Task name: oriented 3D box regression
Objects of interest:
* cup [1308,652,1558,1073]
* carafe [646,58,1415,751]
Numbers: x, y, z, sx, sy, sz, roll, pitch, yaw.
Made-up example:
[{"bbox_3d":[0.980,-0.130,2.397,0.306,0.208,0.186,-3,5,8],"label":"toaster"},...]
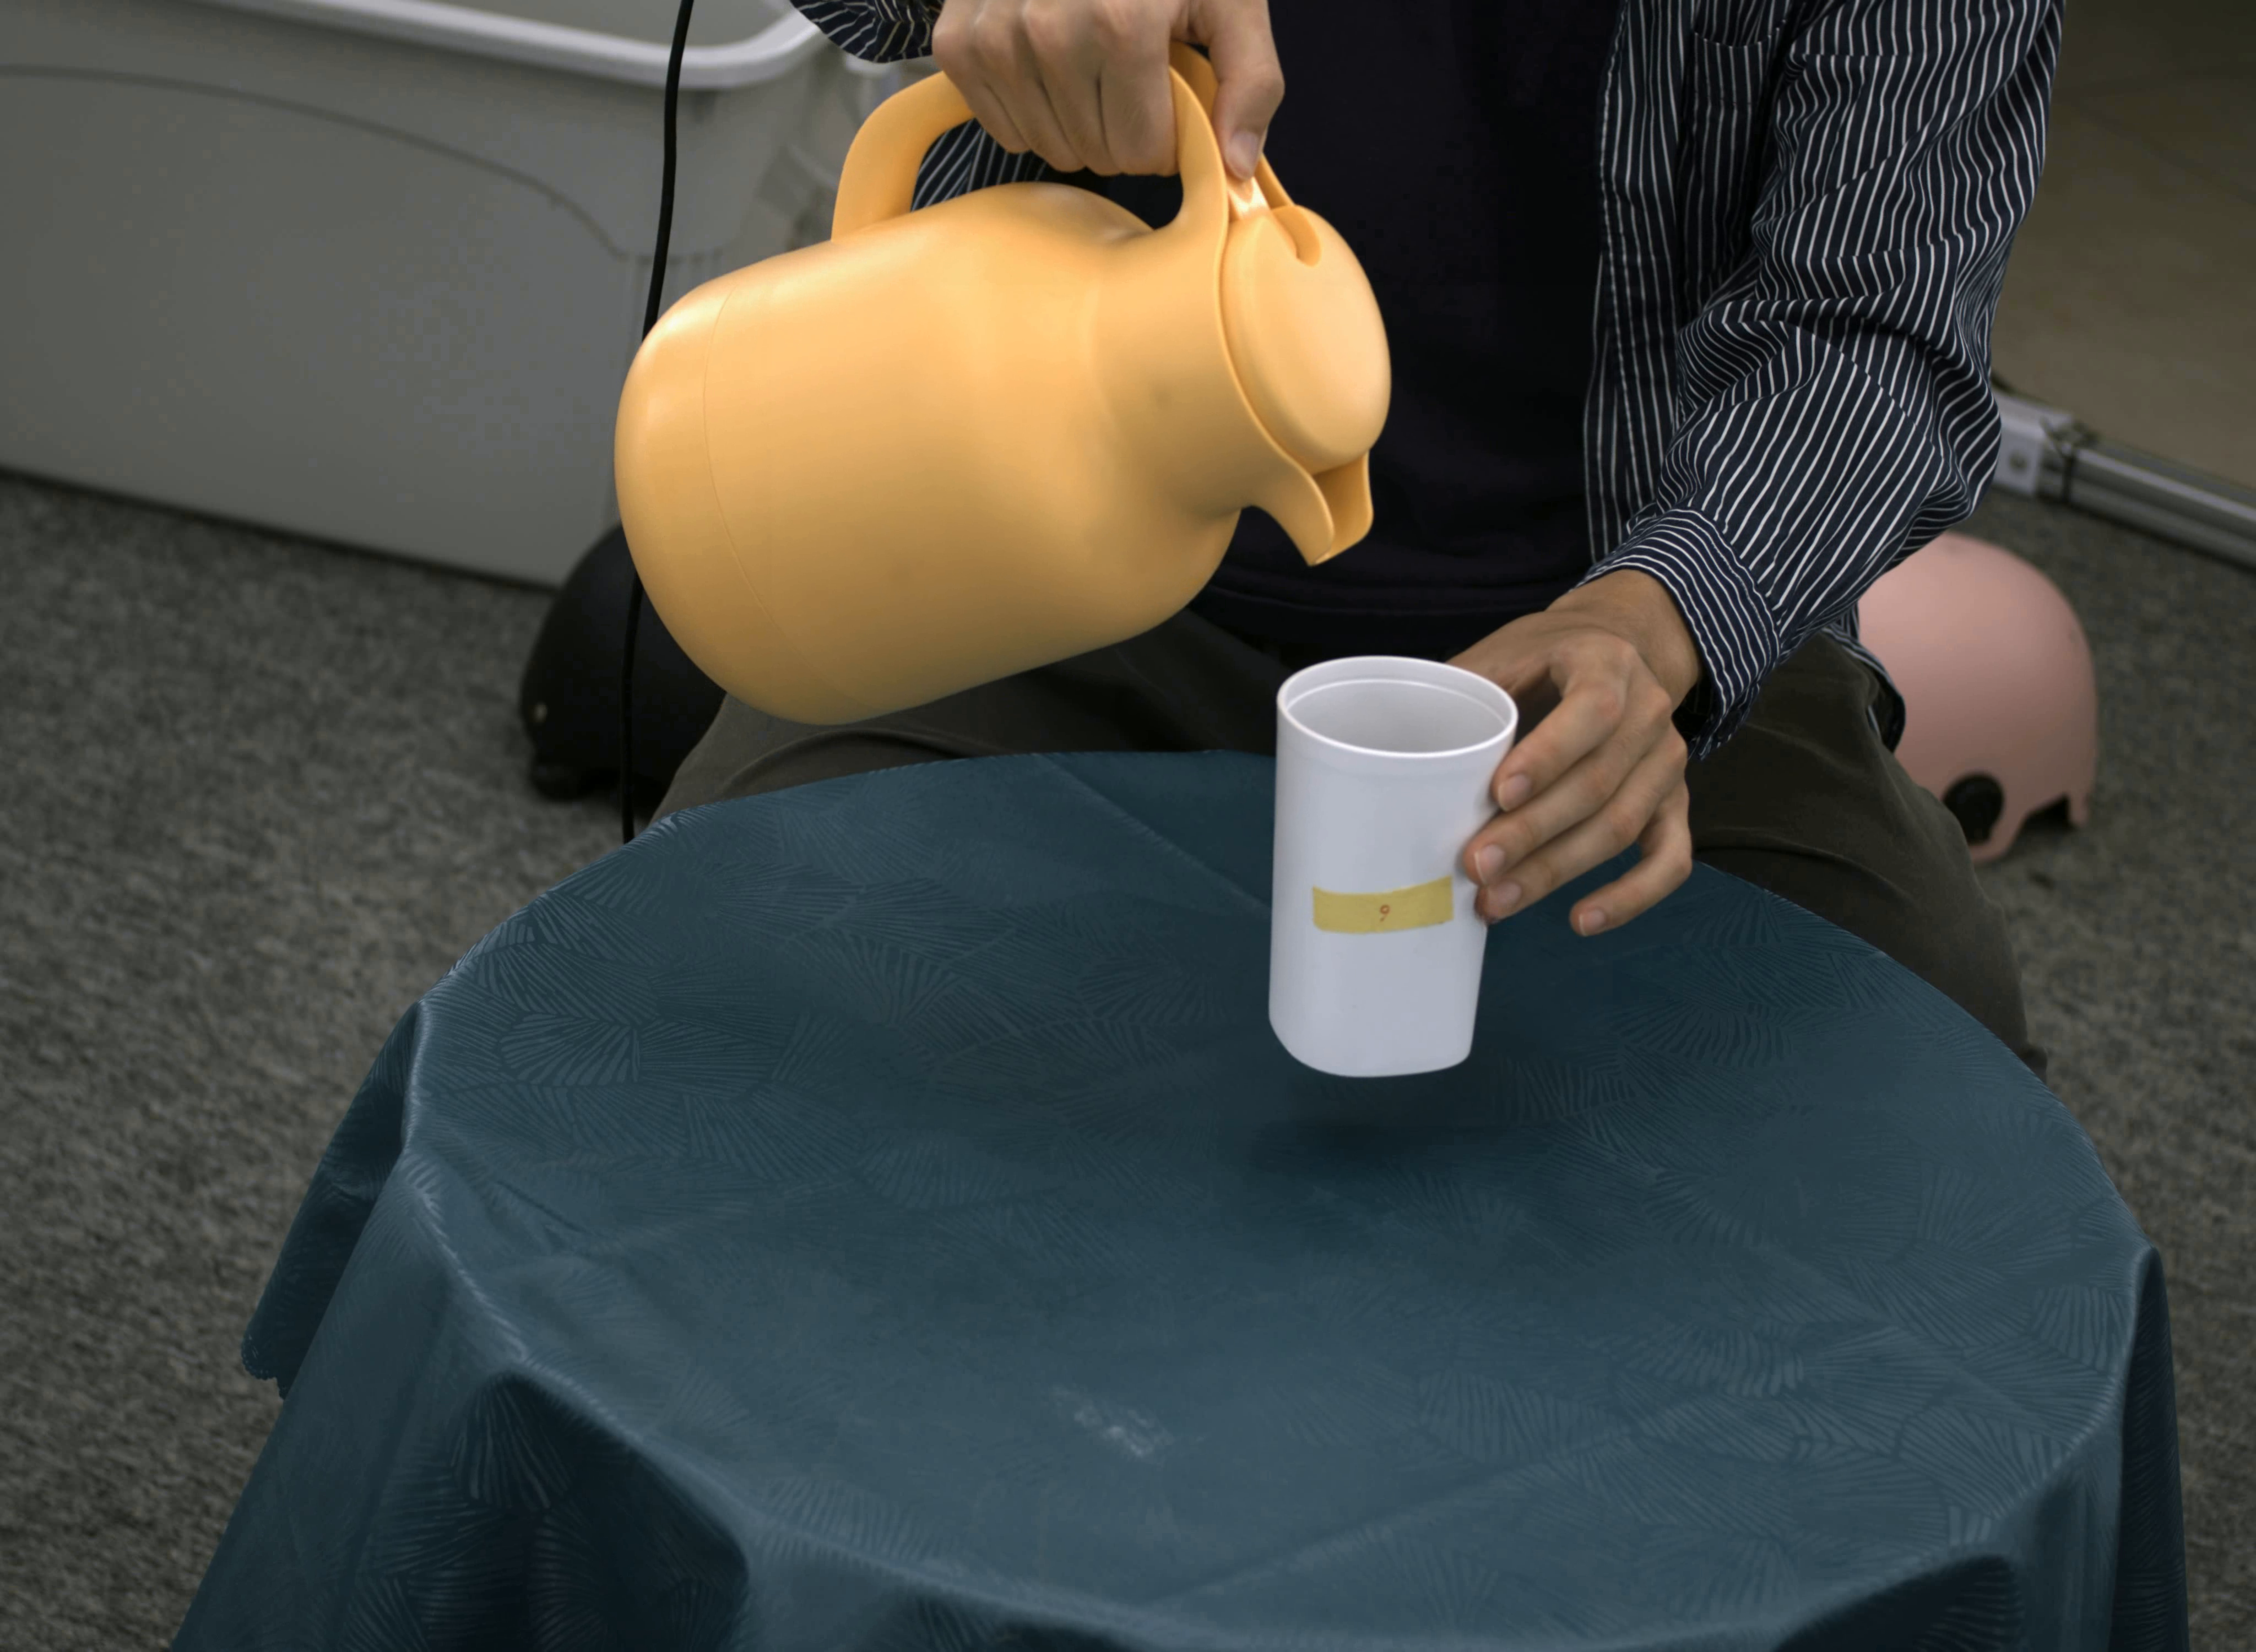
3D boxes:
[{"bbox_3d":[0.100,0.014,1.802,0.081,0.125,0.082,3,23,-2],"label":"cup"},{"bbox_3d":[-0.034,-0.146,1.821,0.261,0.202,0.163,-15,5,33],"label":"carafe"}]
